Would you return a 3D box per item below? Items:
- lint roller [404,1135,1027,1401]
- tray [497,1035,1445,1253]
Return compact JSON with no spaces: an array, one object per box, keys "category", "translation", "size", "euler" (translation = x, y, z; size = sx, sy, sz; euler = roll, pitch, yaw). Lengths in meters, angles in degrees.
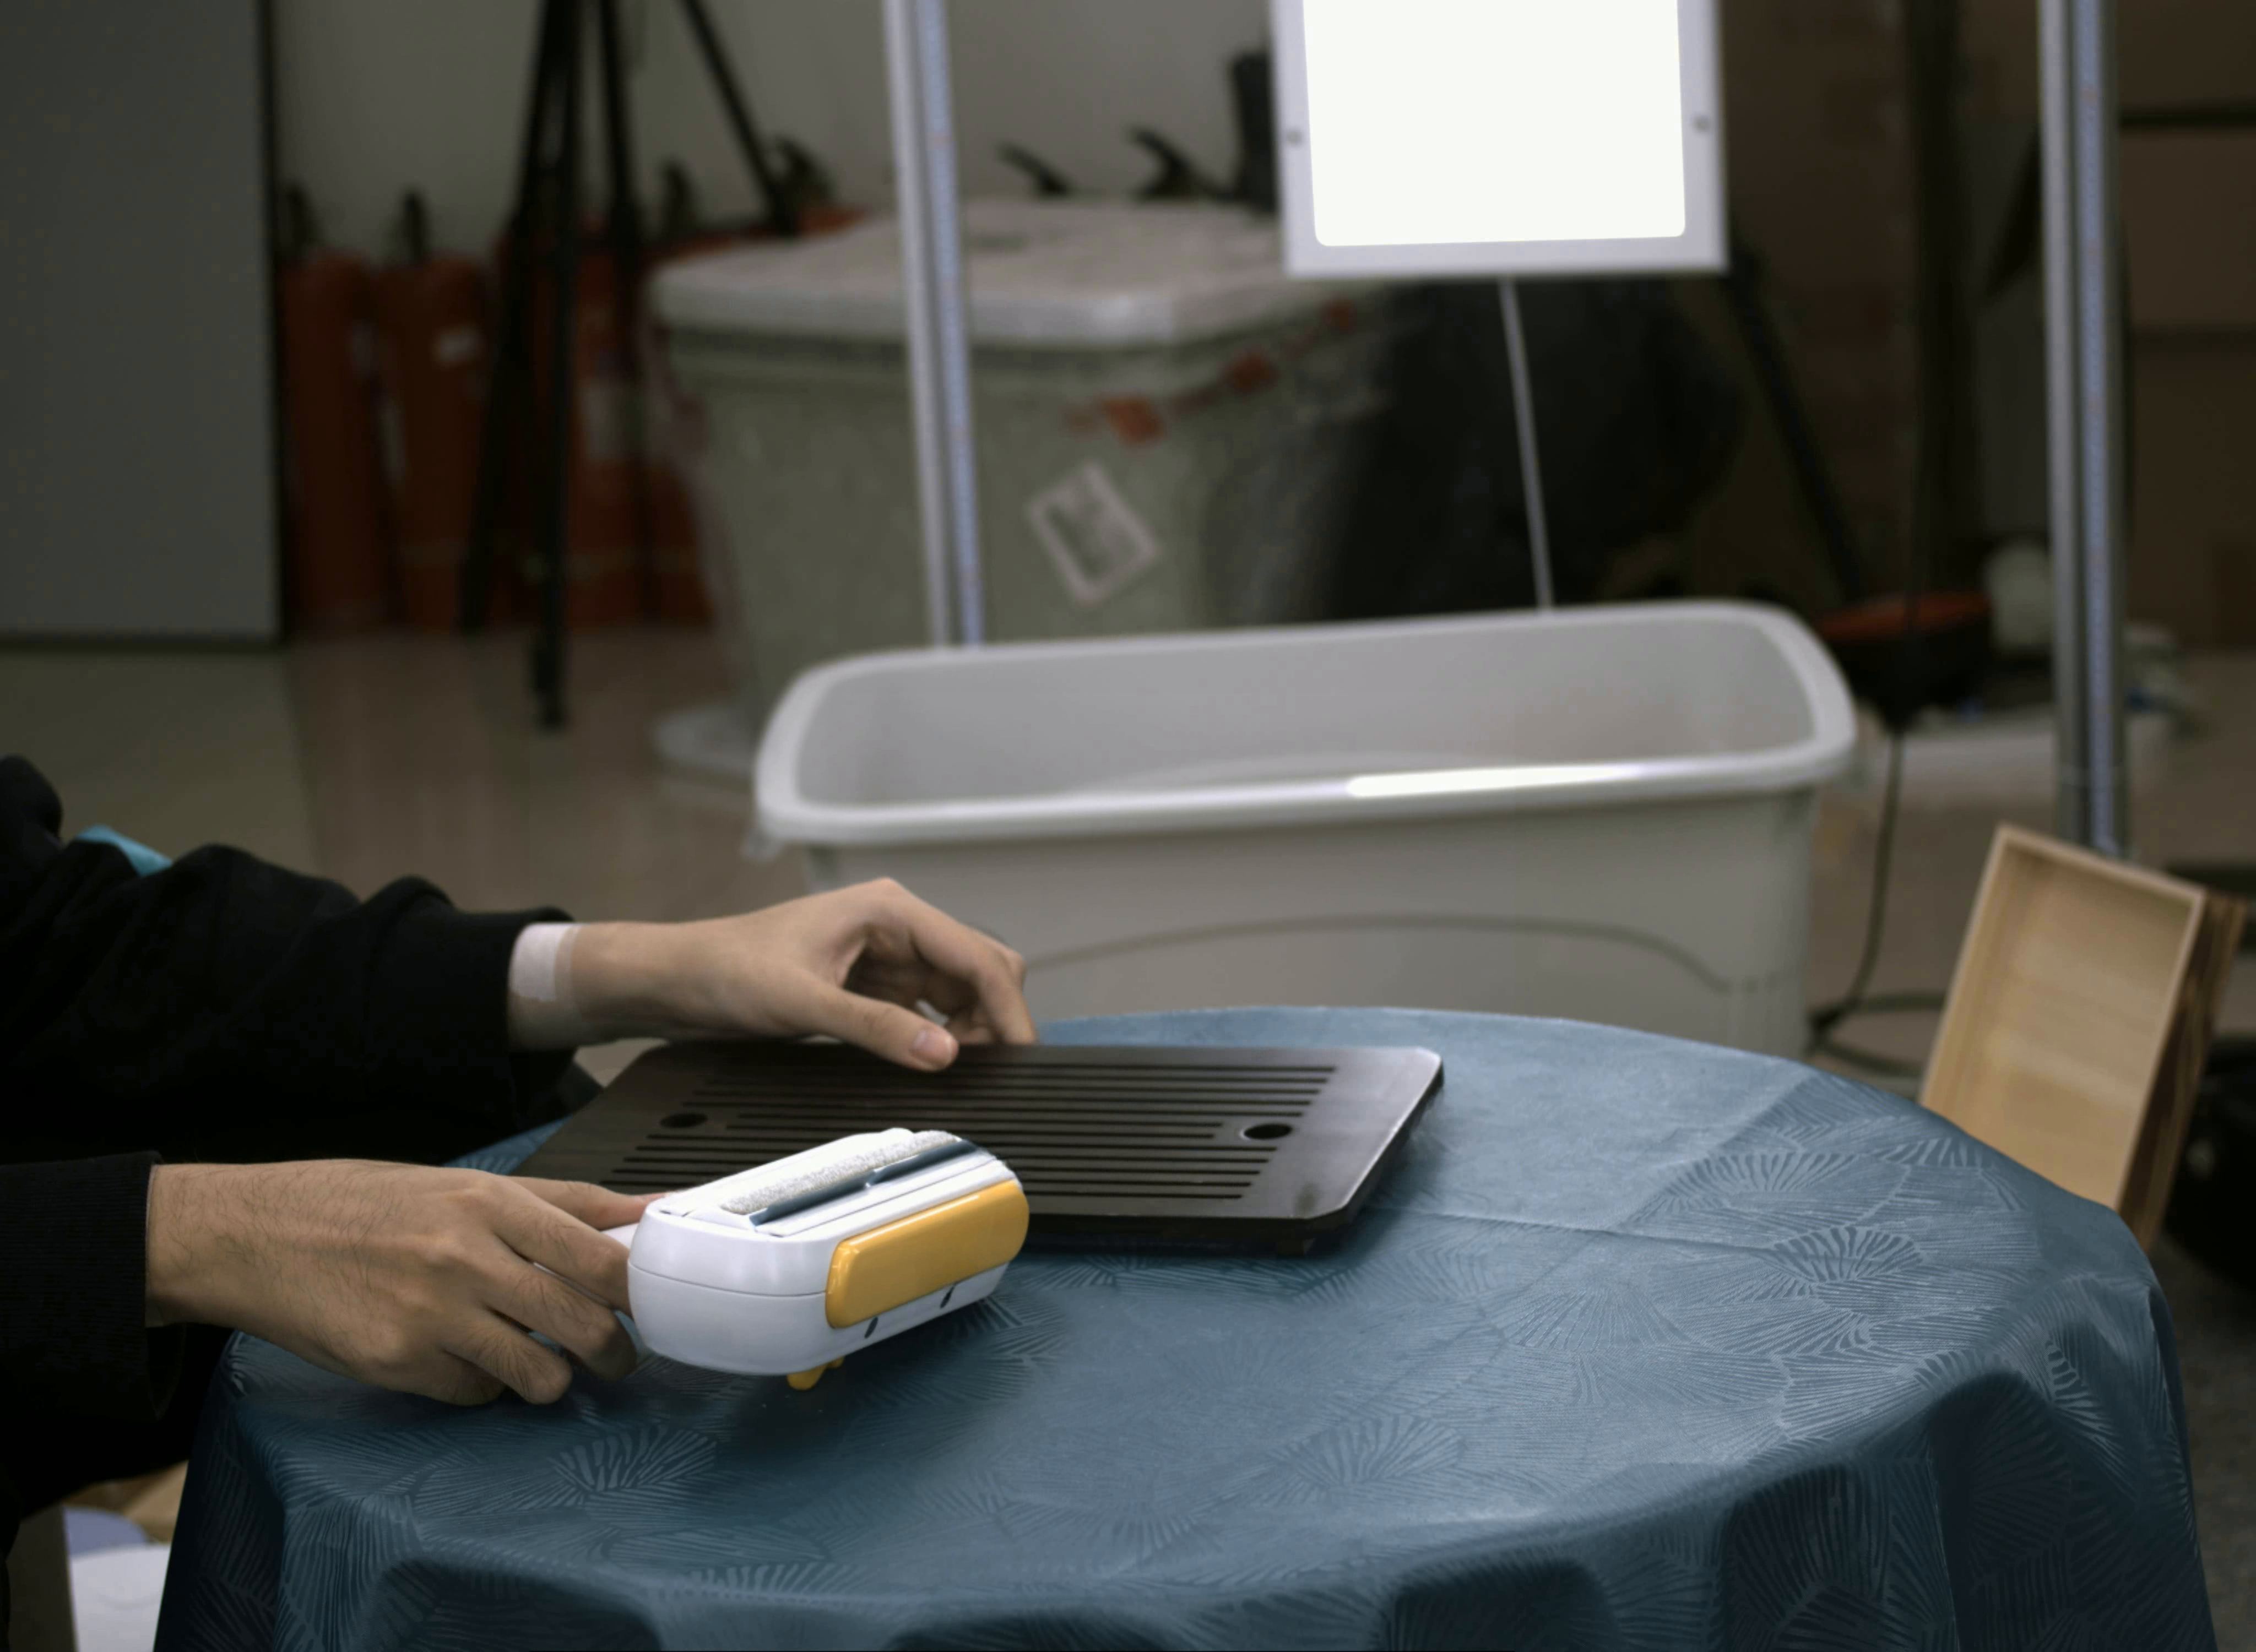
[{"category":"lint roller","translation":[-0.147,0.140,1.753],"size":[0.196,0.074,0.189],"euler":[0,10,28]},{"category":"tray","translation":[-0.052,0.110,1.928],"size":[0.310,0.019,0.167],"euler":[0,18,19]}]
